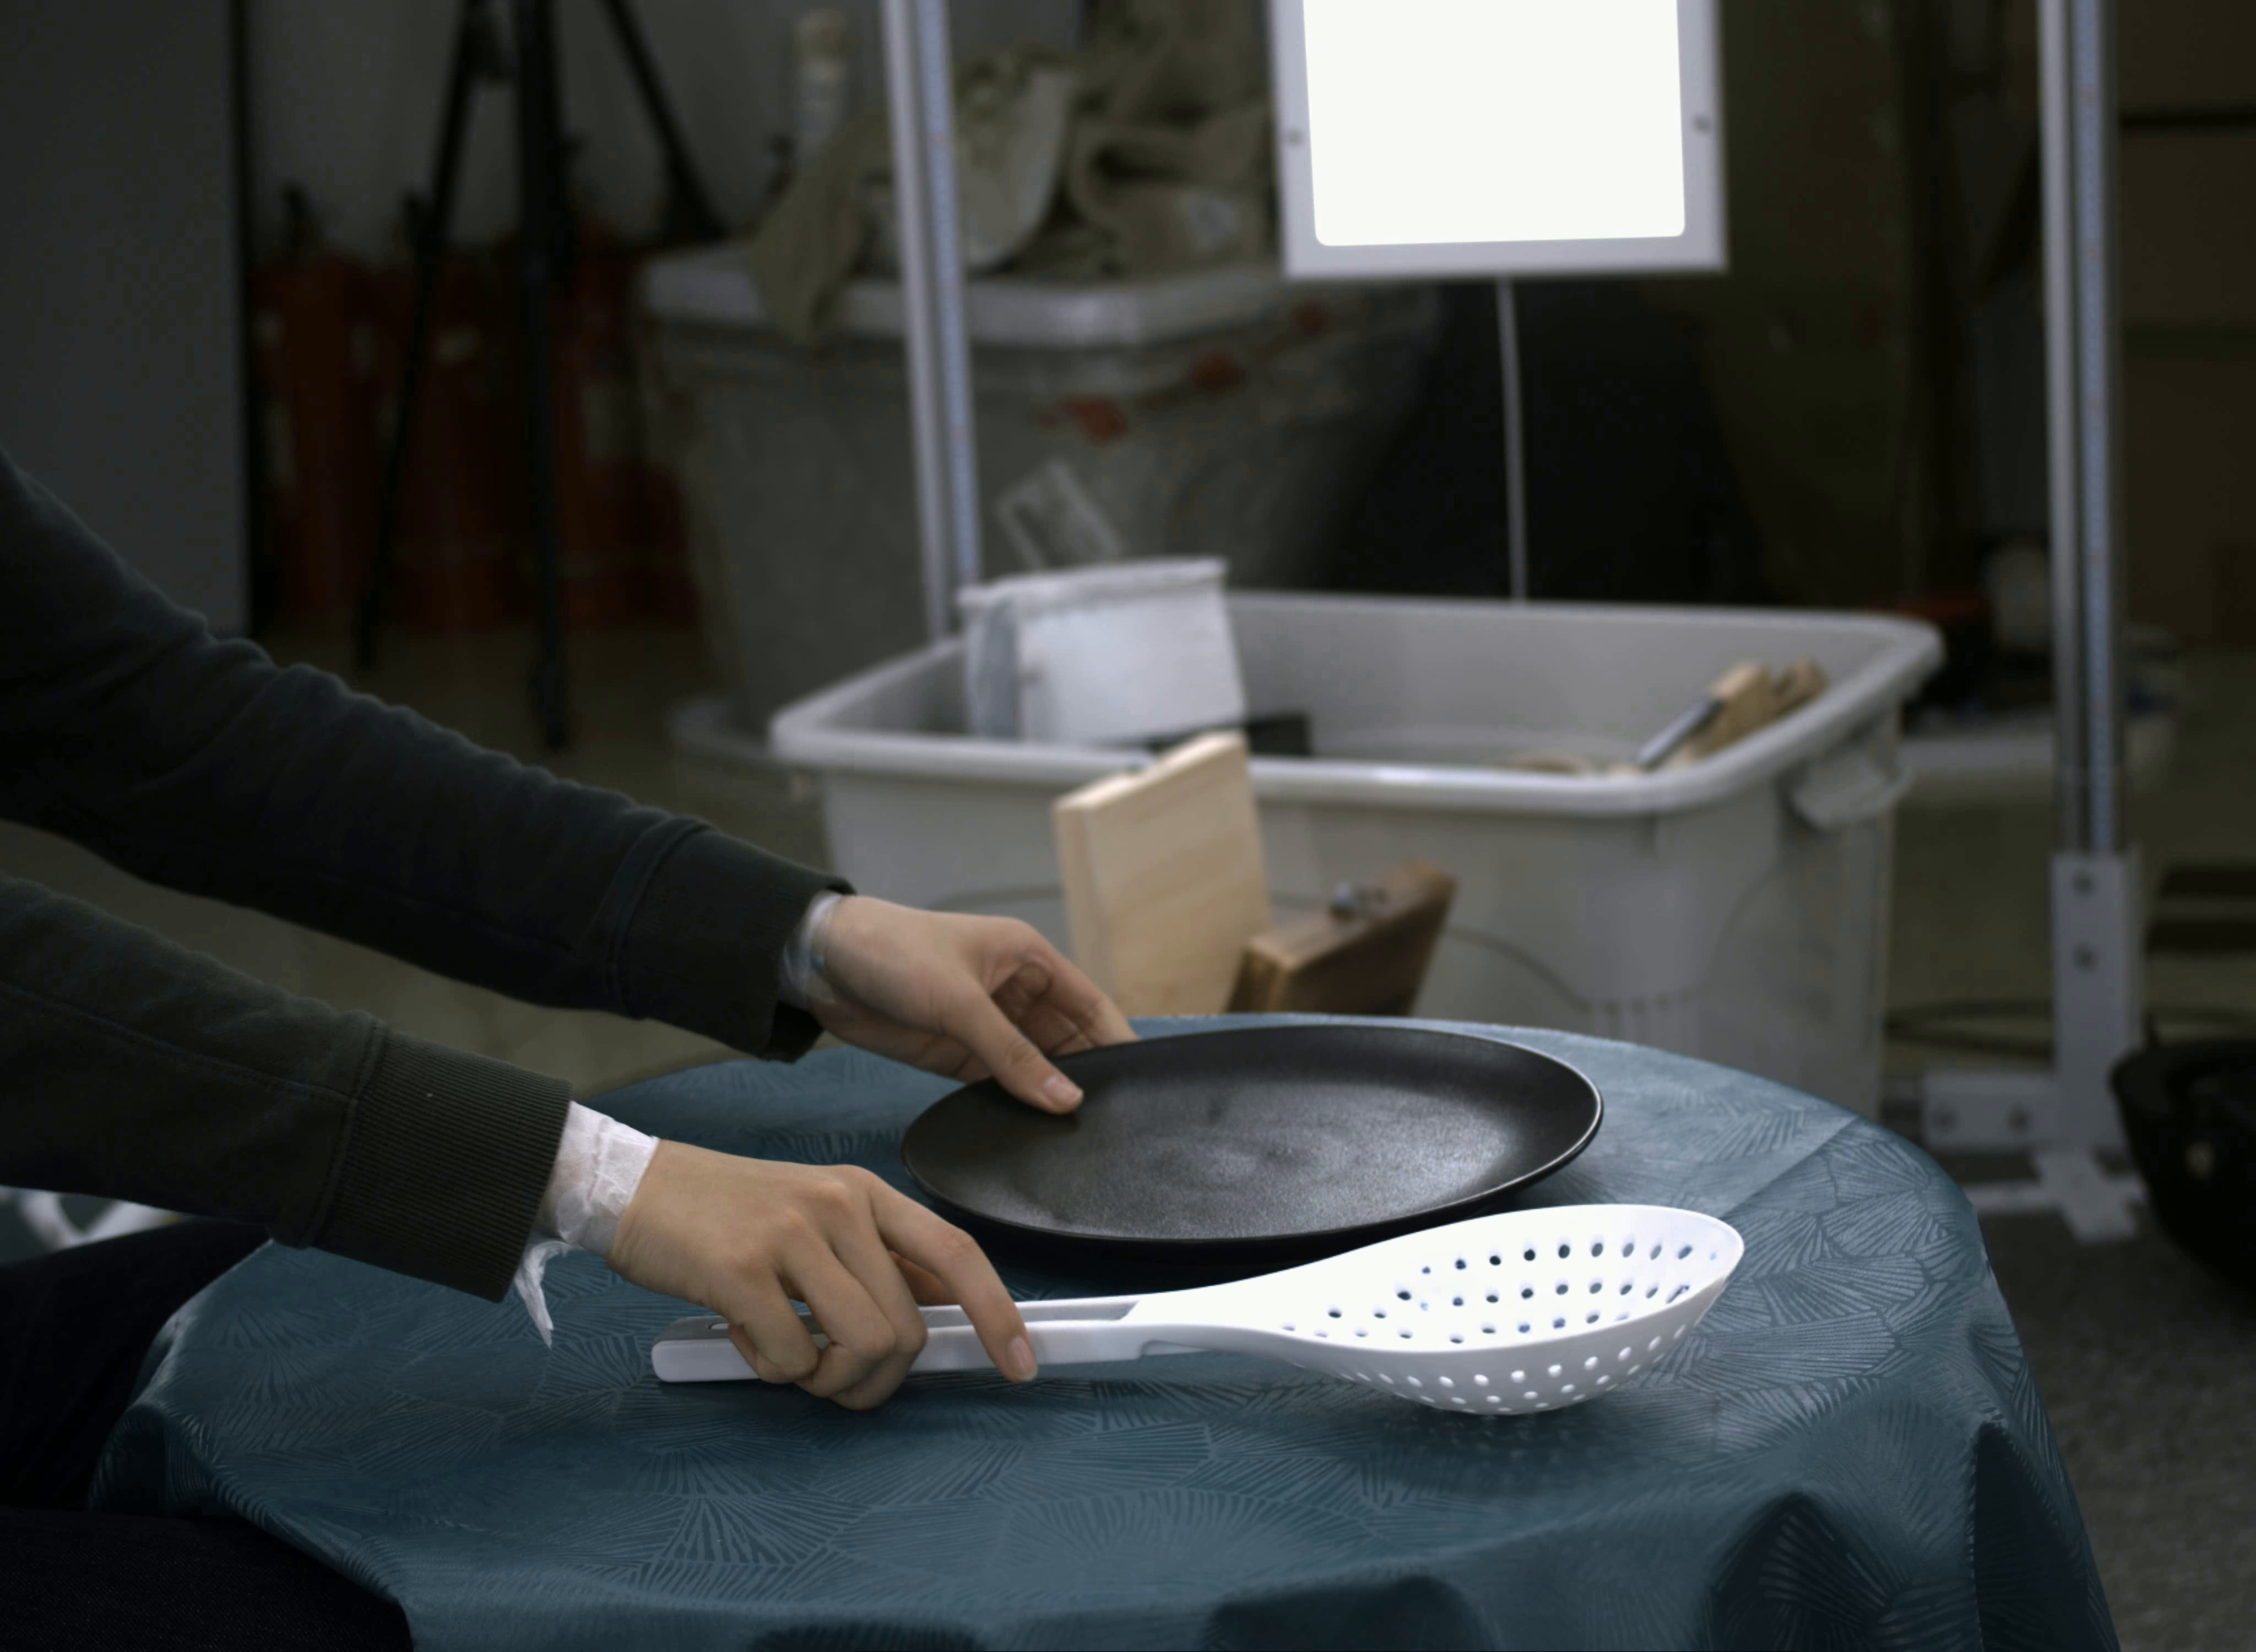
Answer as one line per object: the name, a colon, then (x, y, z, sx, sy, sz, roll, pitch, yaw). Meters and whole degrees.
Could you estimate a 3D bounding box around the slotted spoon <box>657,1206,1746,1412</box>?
slotted spoon: (0.018, 0.152, 1.692, 0.354, 0.046, 0.134, -1, 13, 20)

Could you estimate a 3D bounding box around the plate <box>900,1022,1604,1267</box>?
plate: (0.043, 0.112, 1.892, 0.244, 0.023, 0.244, -5, 14, 0)
